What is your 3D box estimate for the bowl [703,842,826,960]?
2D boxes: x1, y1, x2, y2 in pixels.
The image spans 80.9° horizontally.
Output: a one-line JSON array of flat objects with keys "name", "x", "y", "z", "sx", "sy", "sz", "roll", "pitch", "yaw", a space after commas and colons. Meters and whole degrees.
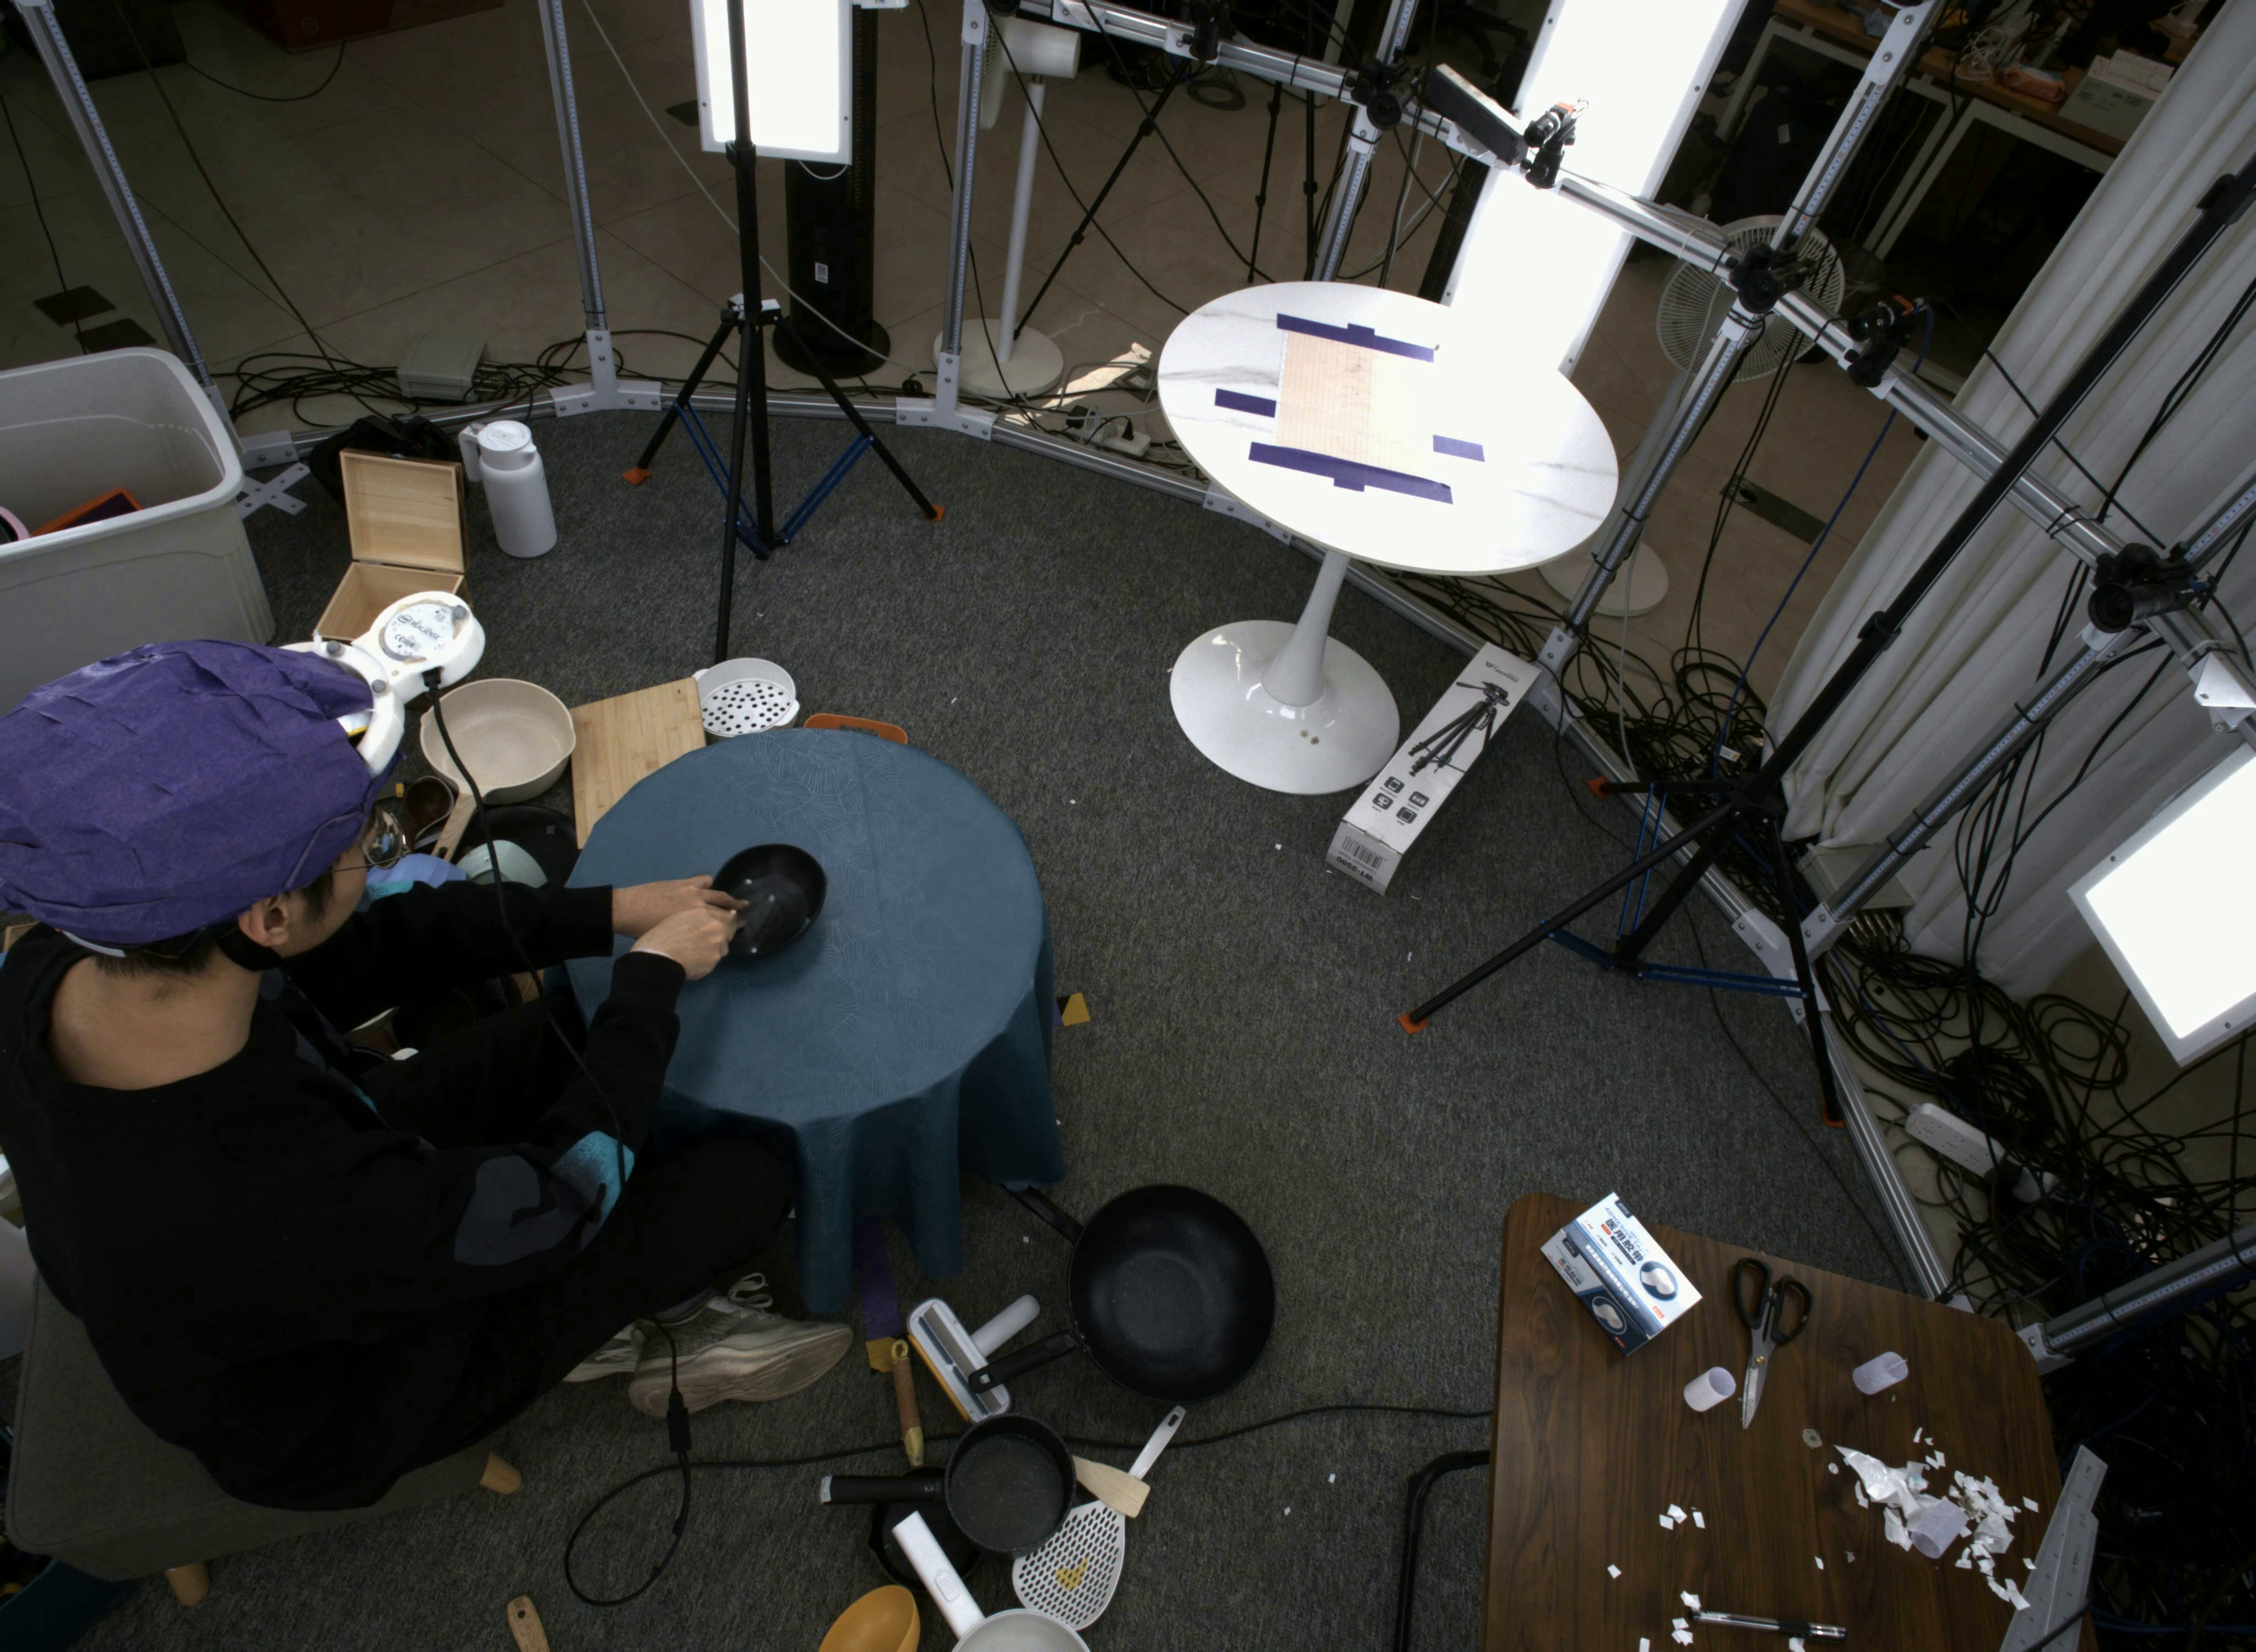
[{"name": "bowl", "x": -0.445, "y": 0.100, "z": 1.591, "sx": 0.136, "sy": 0.068, "sz": 0.169, "roll": 22, "pitch": 53, "yaw": 3}]

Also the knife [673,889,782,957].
[{"name": "knife", "x": -0.464, "y": 0.108, "z": 1.511, "sx": 0.017, "sy": 0.026, "sz": 0.225, "roll": 29, "pitch": 18, "yaw": 7}]
